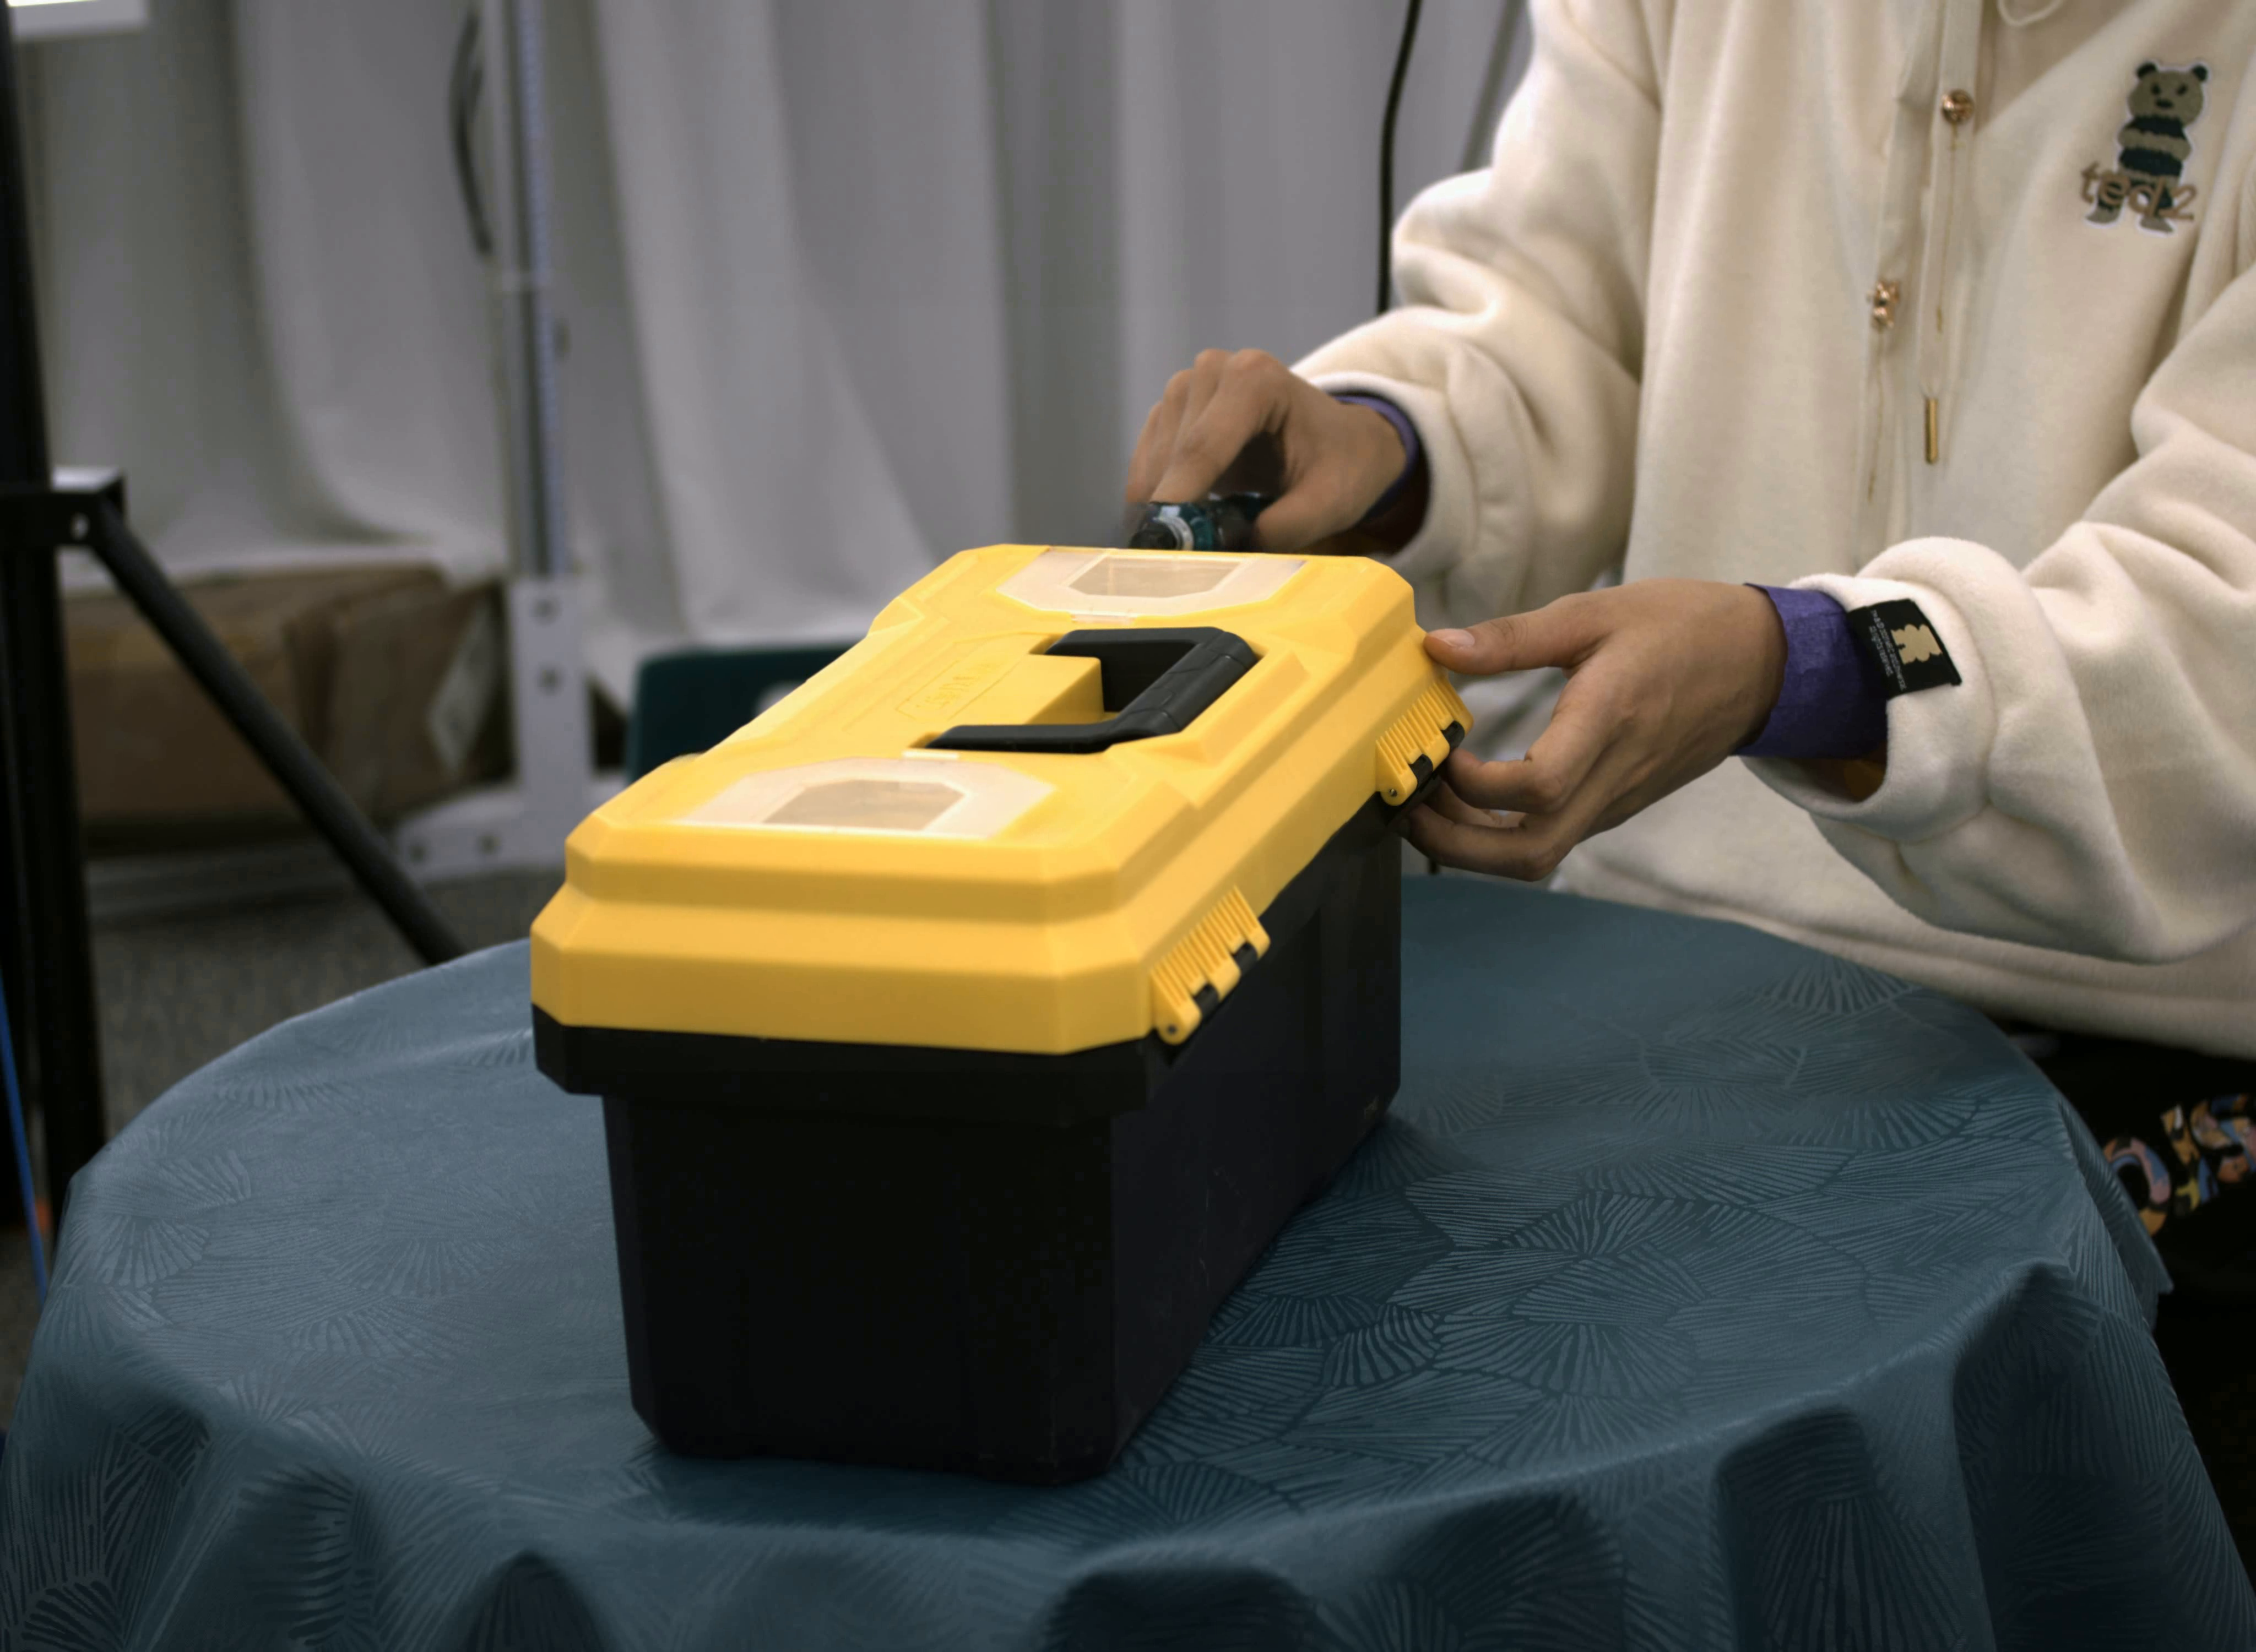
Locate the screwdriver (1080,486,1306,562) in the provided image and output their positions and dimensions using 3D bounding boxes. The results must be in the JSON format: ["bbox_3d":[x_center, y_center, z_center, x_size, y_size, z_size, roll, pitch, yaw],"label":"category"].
[{"bbox_3d":[0.018,-0.092,1.725,0.034,0.034,0.187,4,6,20],"label":"screwdriver"}]

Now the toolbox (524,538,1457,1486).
[{"bbox_3d":[-0.026,0.041,1.480,0.183,0.173,0.348,3,17,18],"label":"toolbox"}]
